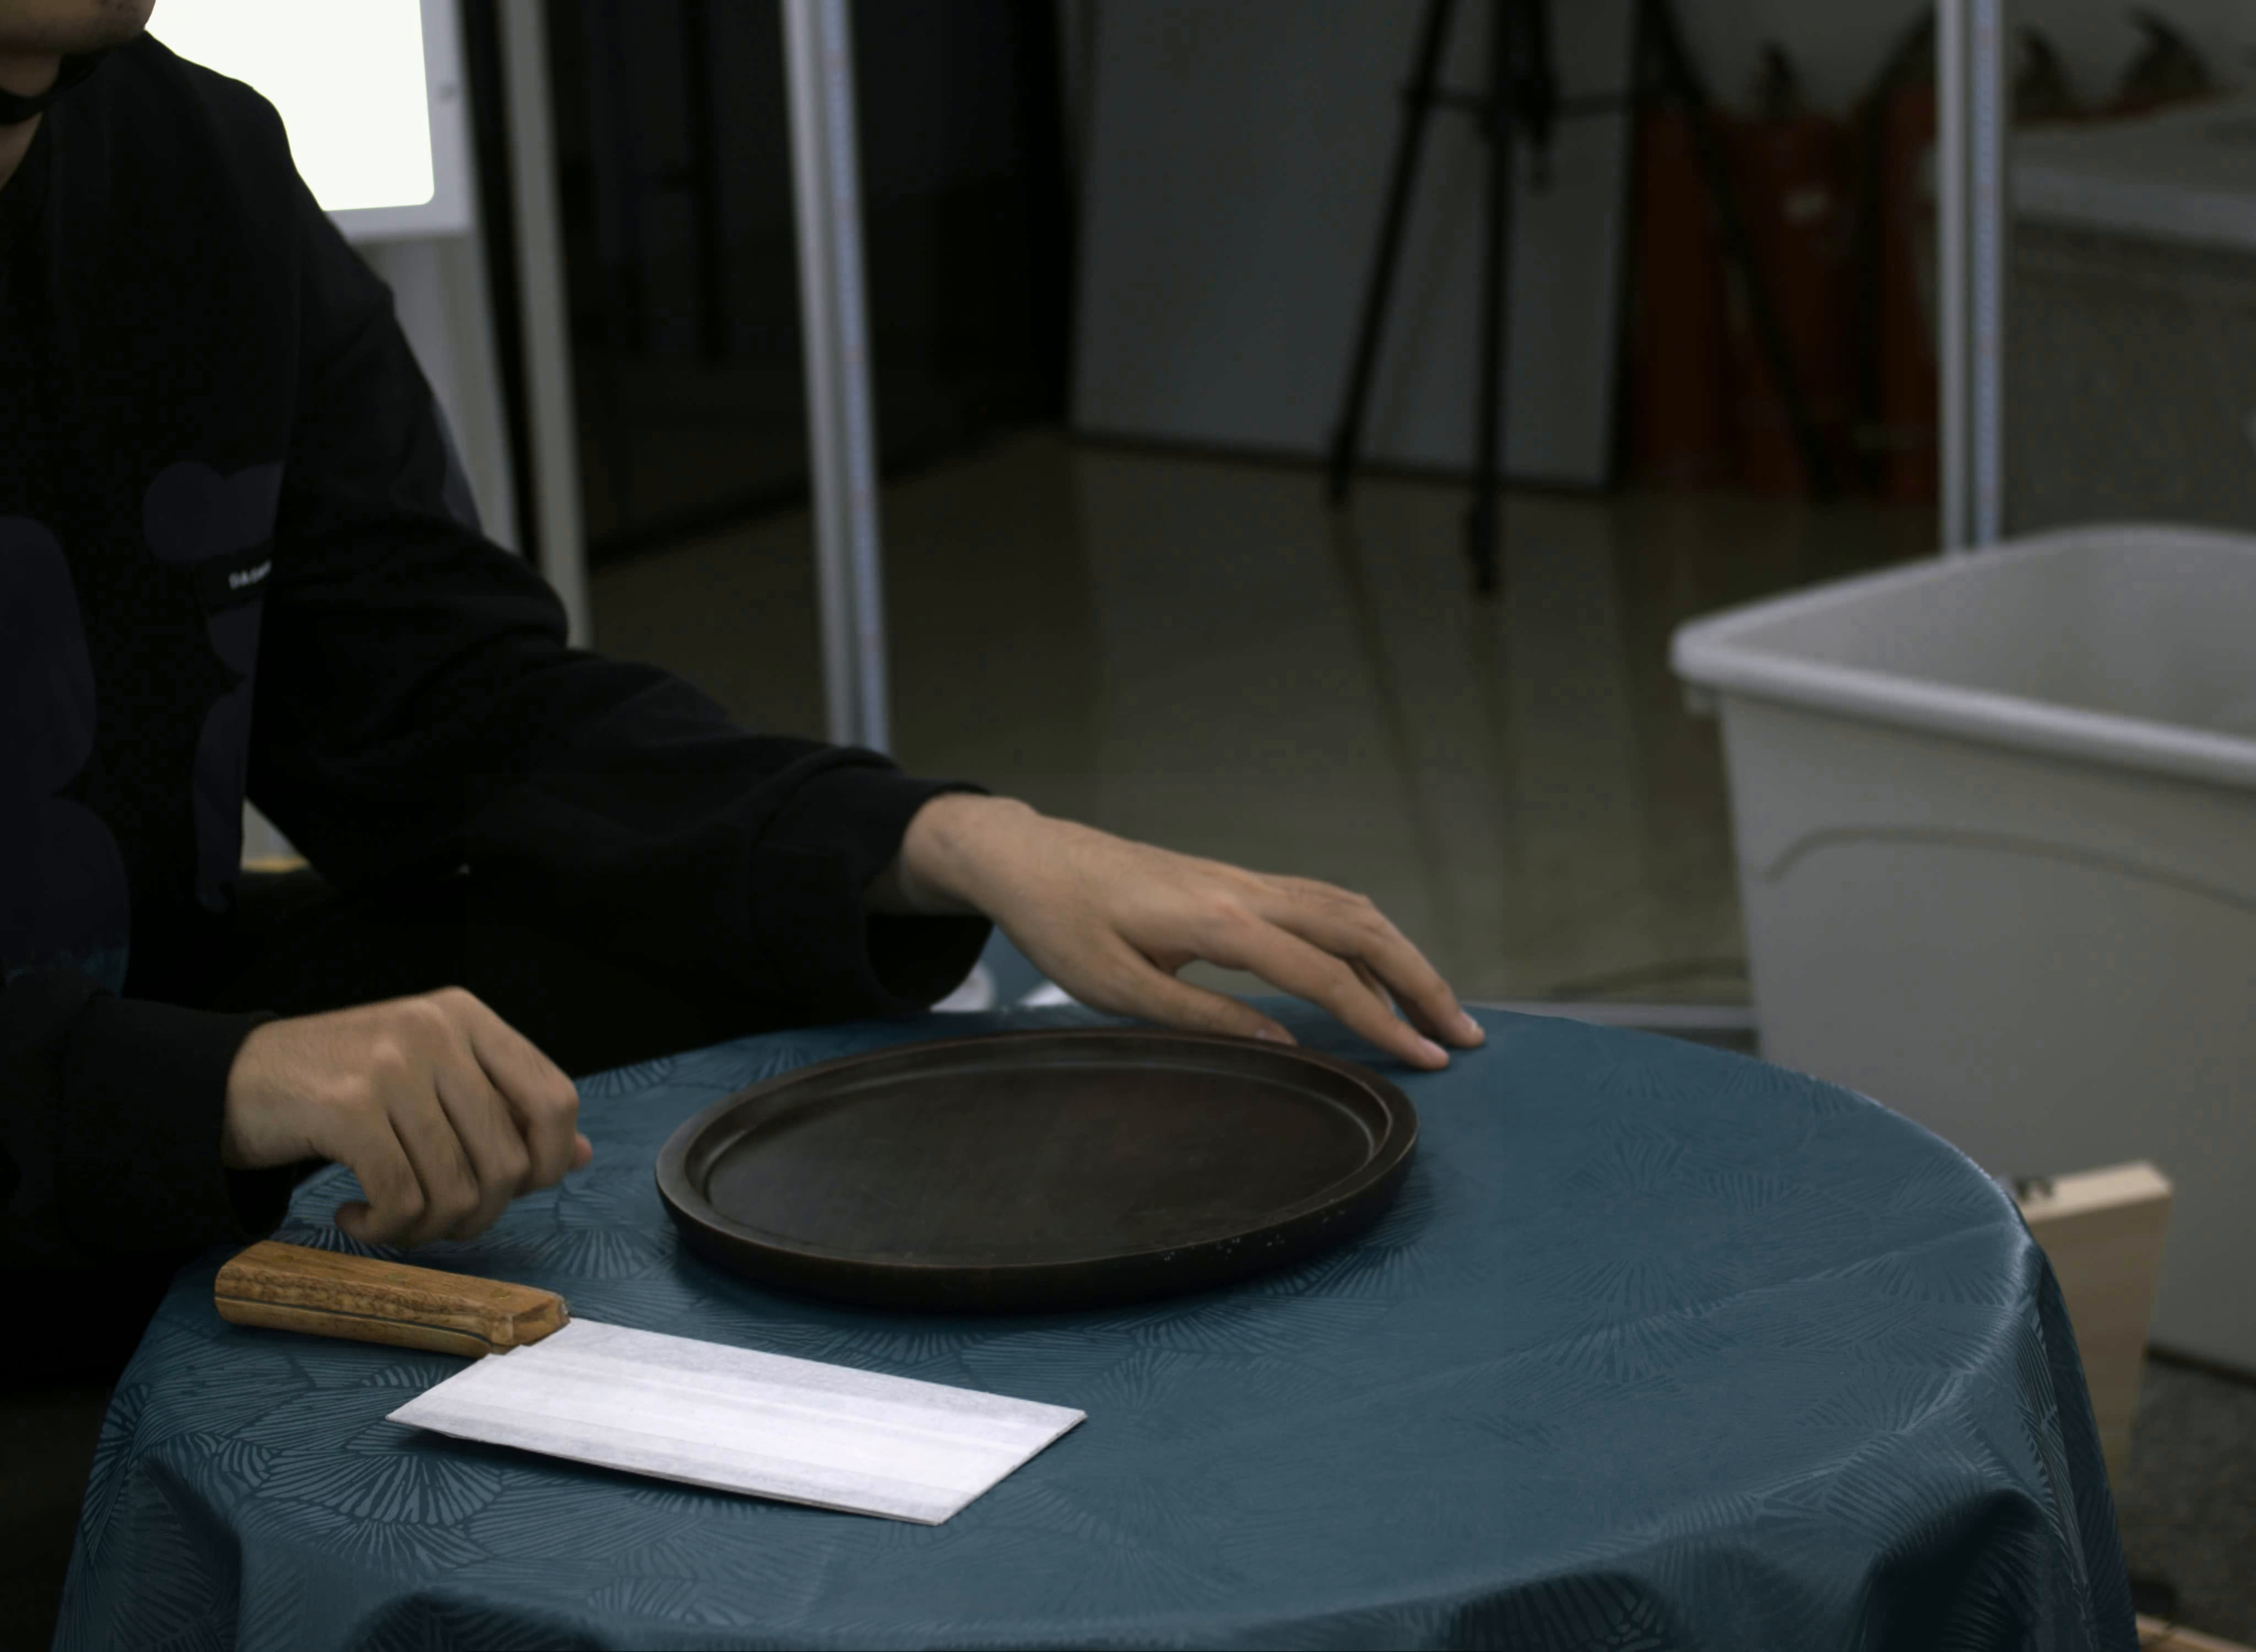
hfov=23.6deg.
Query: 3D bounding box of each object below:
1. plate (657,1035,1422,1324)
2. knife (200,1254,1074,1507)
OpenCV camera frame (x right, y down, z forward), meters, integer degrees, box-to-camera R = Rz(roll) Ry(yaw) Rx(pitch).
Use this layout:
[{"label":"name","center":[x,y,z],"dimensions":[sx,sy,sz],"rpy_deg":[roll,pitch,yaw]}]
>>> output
[{"label":"plate","center":[-0.028,0.112,1.763],"dimensions":[0.251,0.029,0.255],"rpy_deg":[-4,16,0]},{"label":"knife","center":[-0.163,0.167,1.603],"dimensions":[0.307,0.021,0.091],"rpy_deg":[6,19,29]}]
